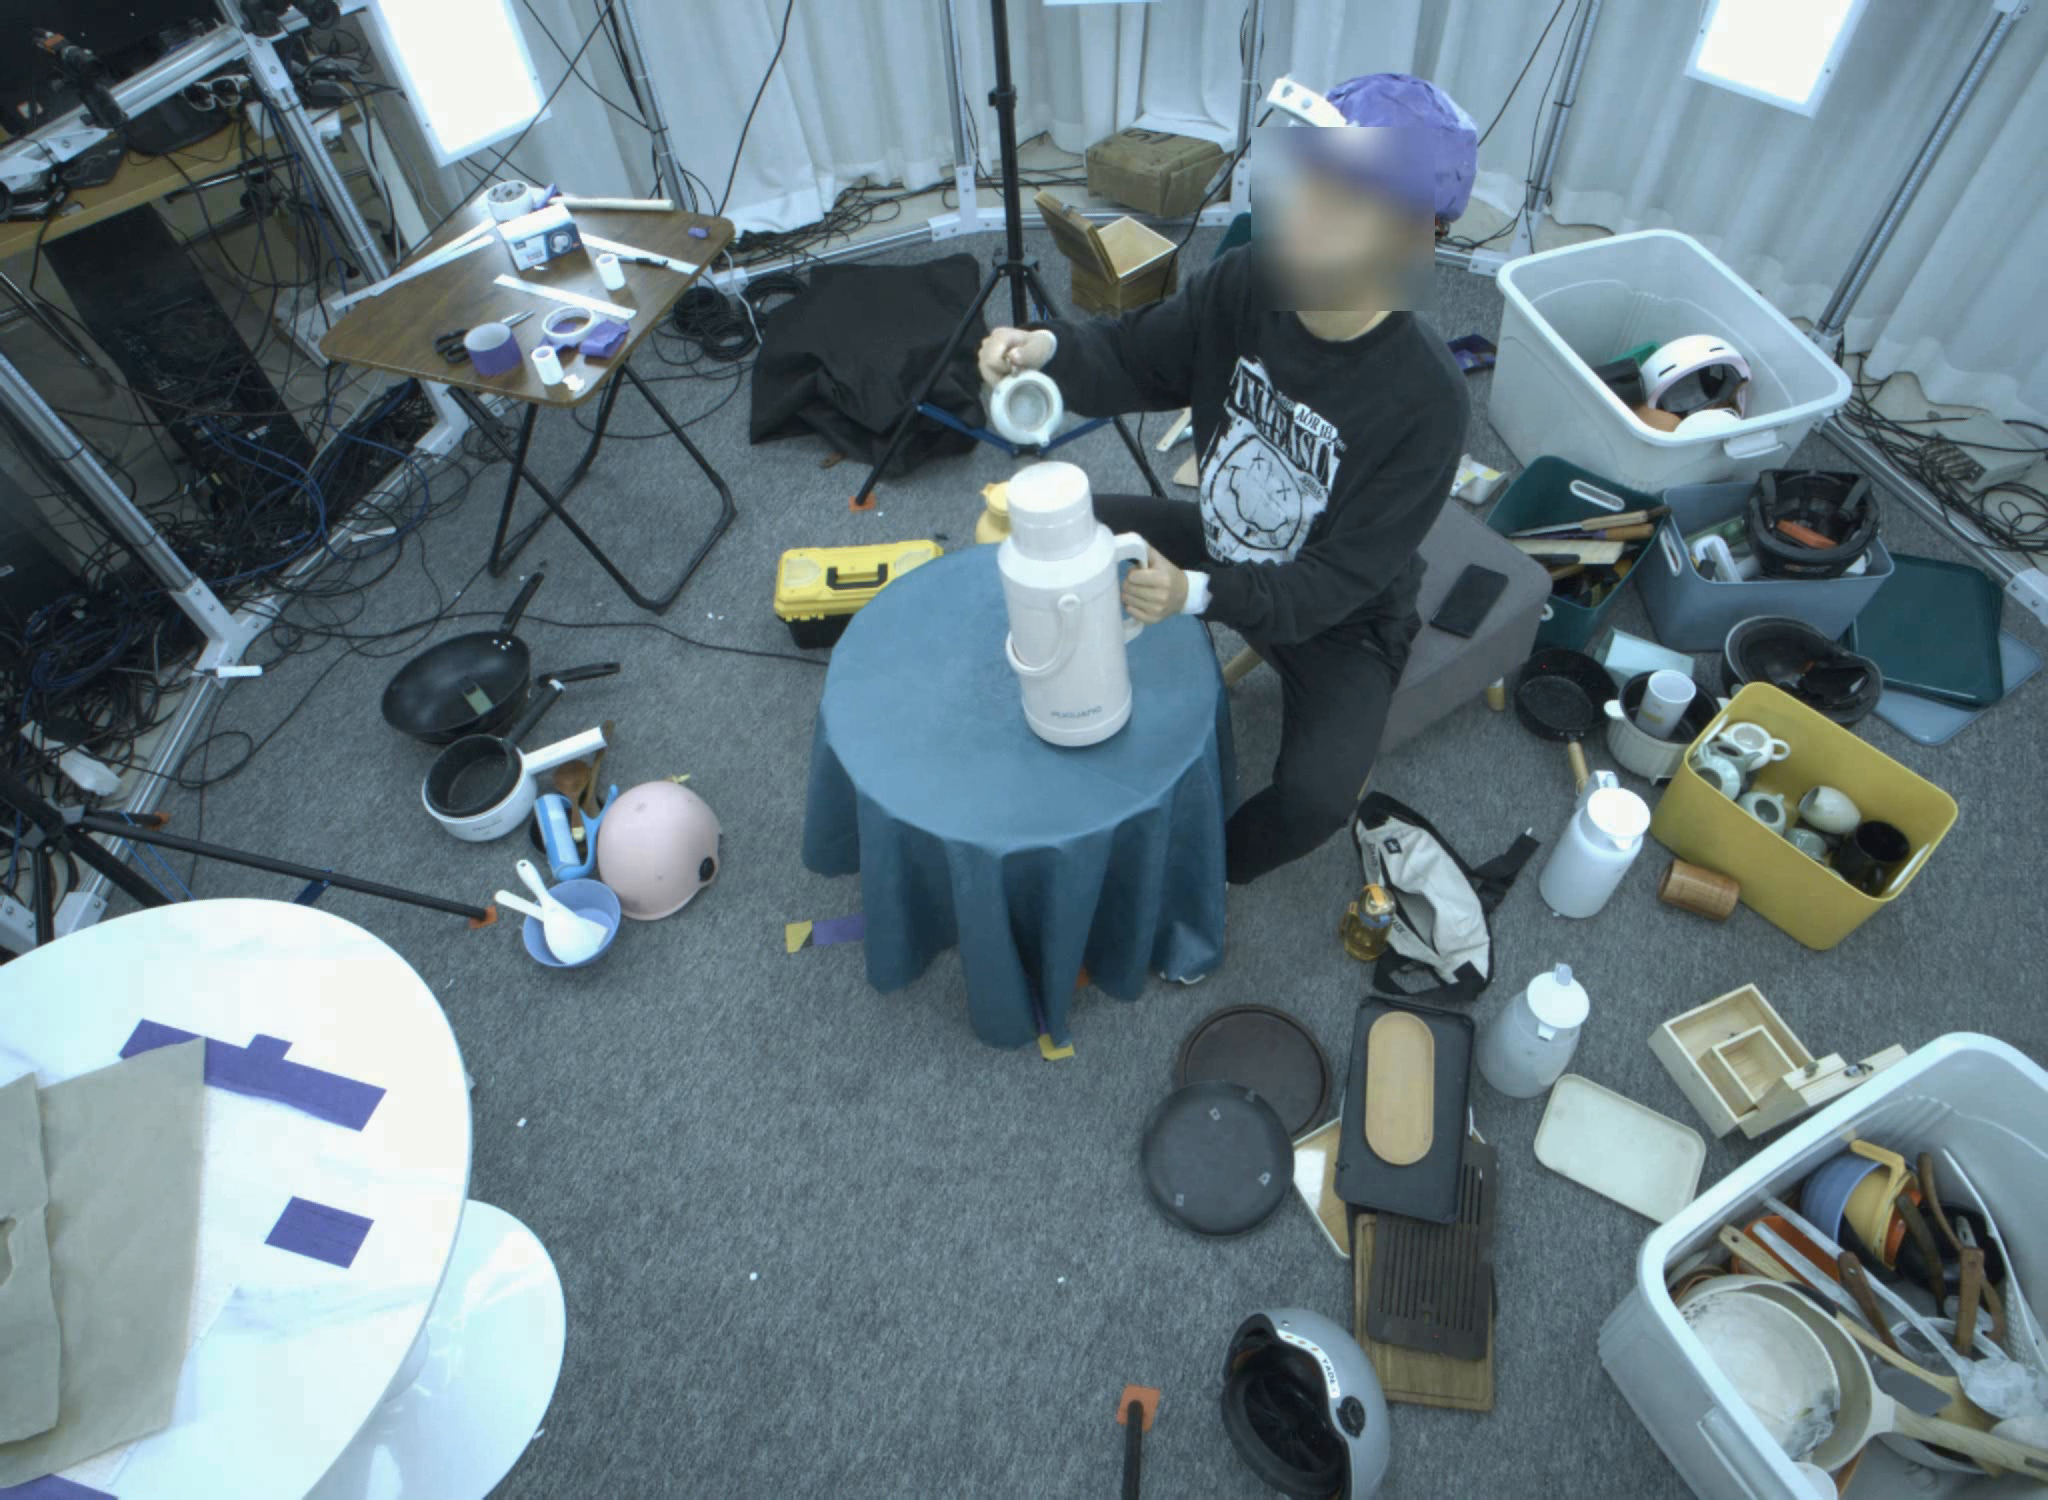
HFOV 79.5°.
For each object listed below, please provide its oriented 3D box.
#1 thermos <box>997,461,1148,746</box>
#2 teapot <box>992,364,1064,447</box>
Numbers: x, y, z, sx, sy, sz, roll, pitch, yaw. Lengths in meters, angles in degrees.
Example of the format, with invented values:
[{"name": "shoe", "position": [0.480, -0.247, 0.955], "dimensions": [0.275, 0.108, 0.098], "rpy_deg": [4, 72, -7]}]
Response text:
[{"name": "thermos", "position": [0.069, -0.197, 1.666], "dimensions": [0.207, 0.412, 0.172], "rpy_deg": [-13, 47, -2]}, {"name": "teapot", "position": [-0.001, -0.441, 1.527], "dimensions": [0.092, 0.129, 0.059], "rpy_deg": [-26, 13, 1]}]
